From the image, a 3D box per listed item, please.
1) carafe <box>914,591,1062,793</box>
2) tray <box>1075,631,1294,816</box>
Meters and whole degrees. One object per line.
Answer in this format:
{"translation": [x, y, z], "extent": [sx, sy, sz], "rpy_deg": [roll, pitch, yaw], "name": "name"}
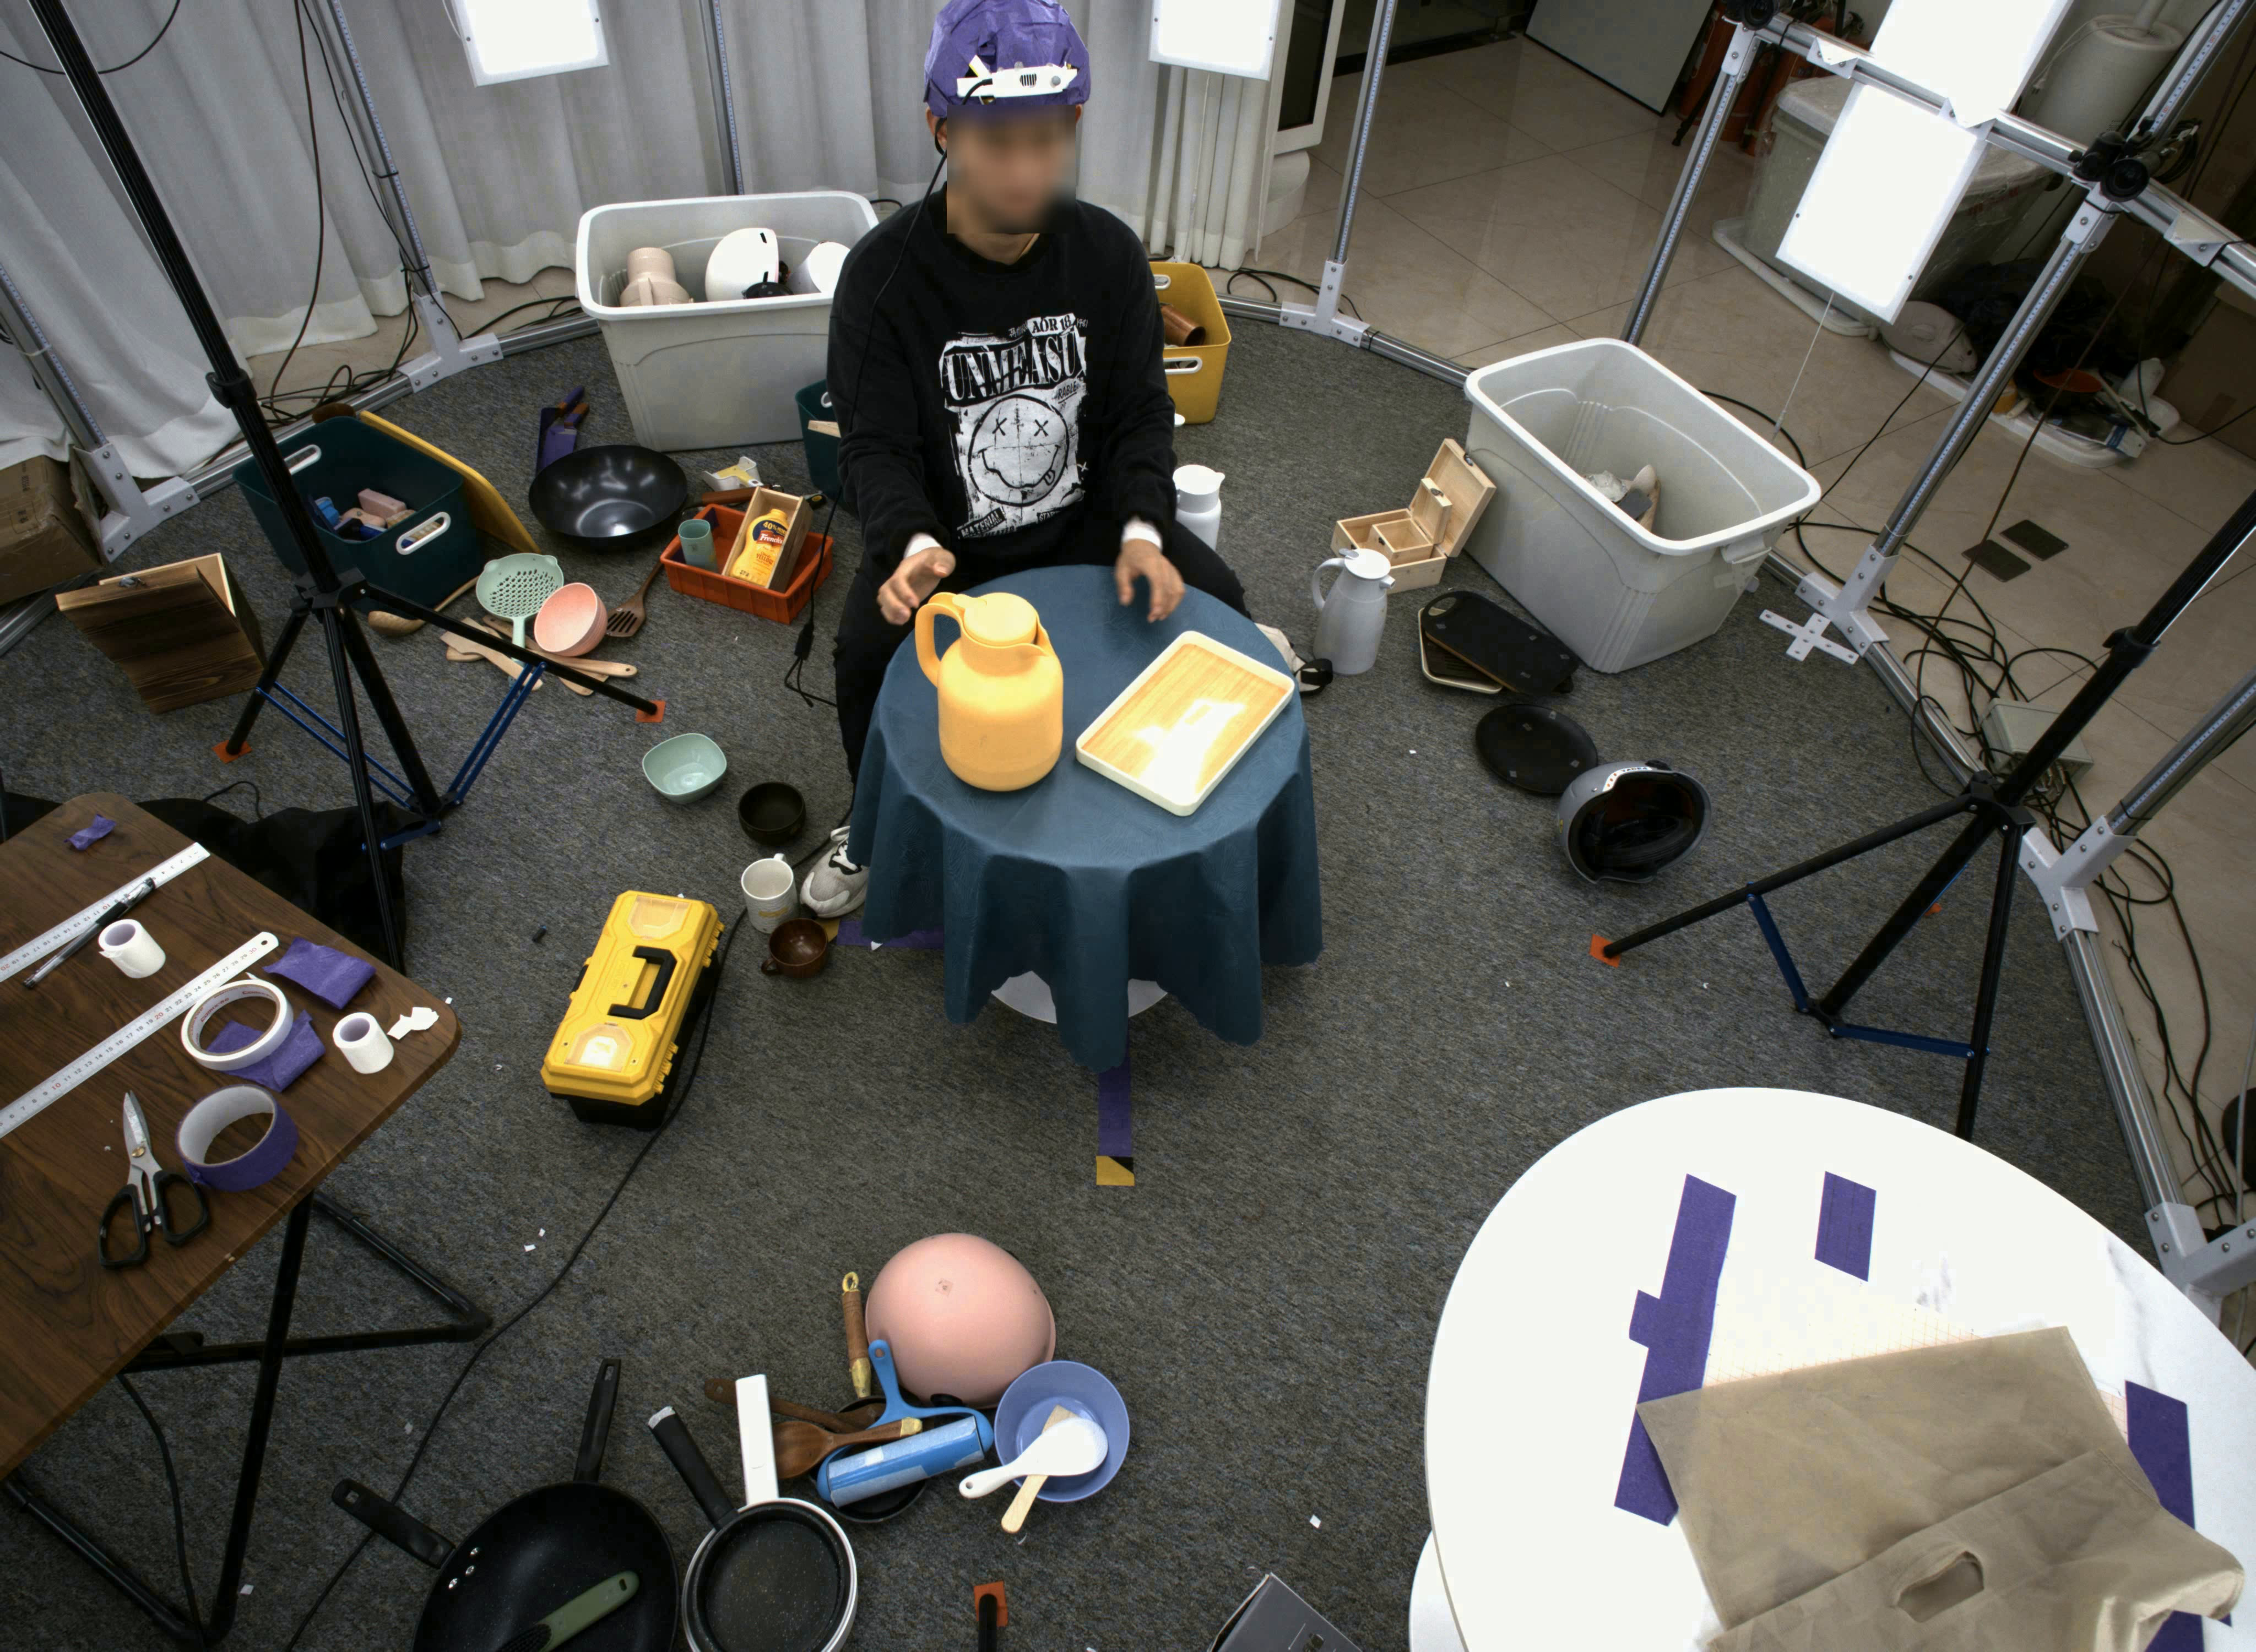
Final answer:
{"translation": [-0.181, -0.184, 1.651], "extent": [0.204, 0.254, 0.166], "rpy_deg": [28, 51, 17], "name": "carafe"}
{"translation": [0.082, -0.150, 1.787], "extent": [0.193, 0.027, 0.304], "rpy_deg": [29, 53, 20], "name": "tray"}
